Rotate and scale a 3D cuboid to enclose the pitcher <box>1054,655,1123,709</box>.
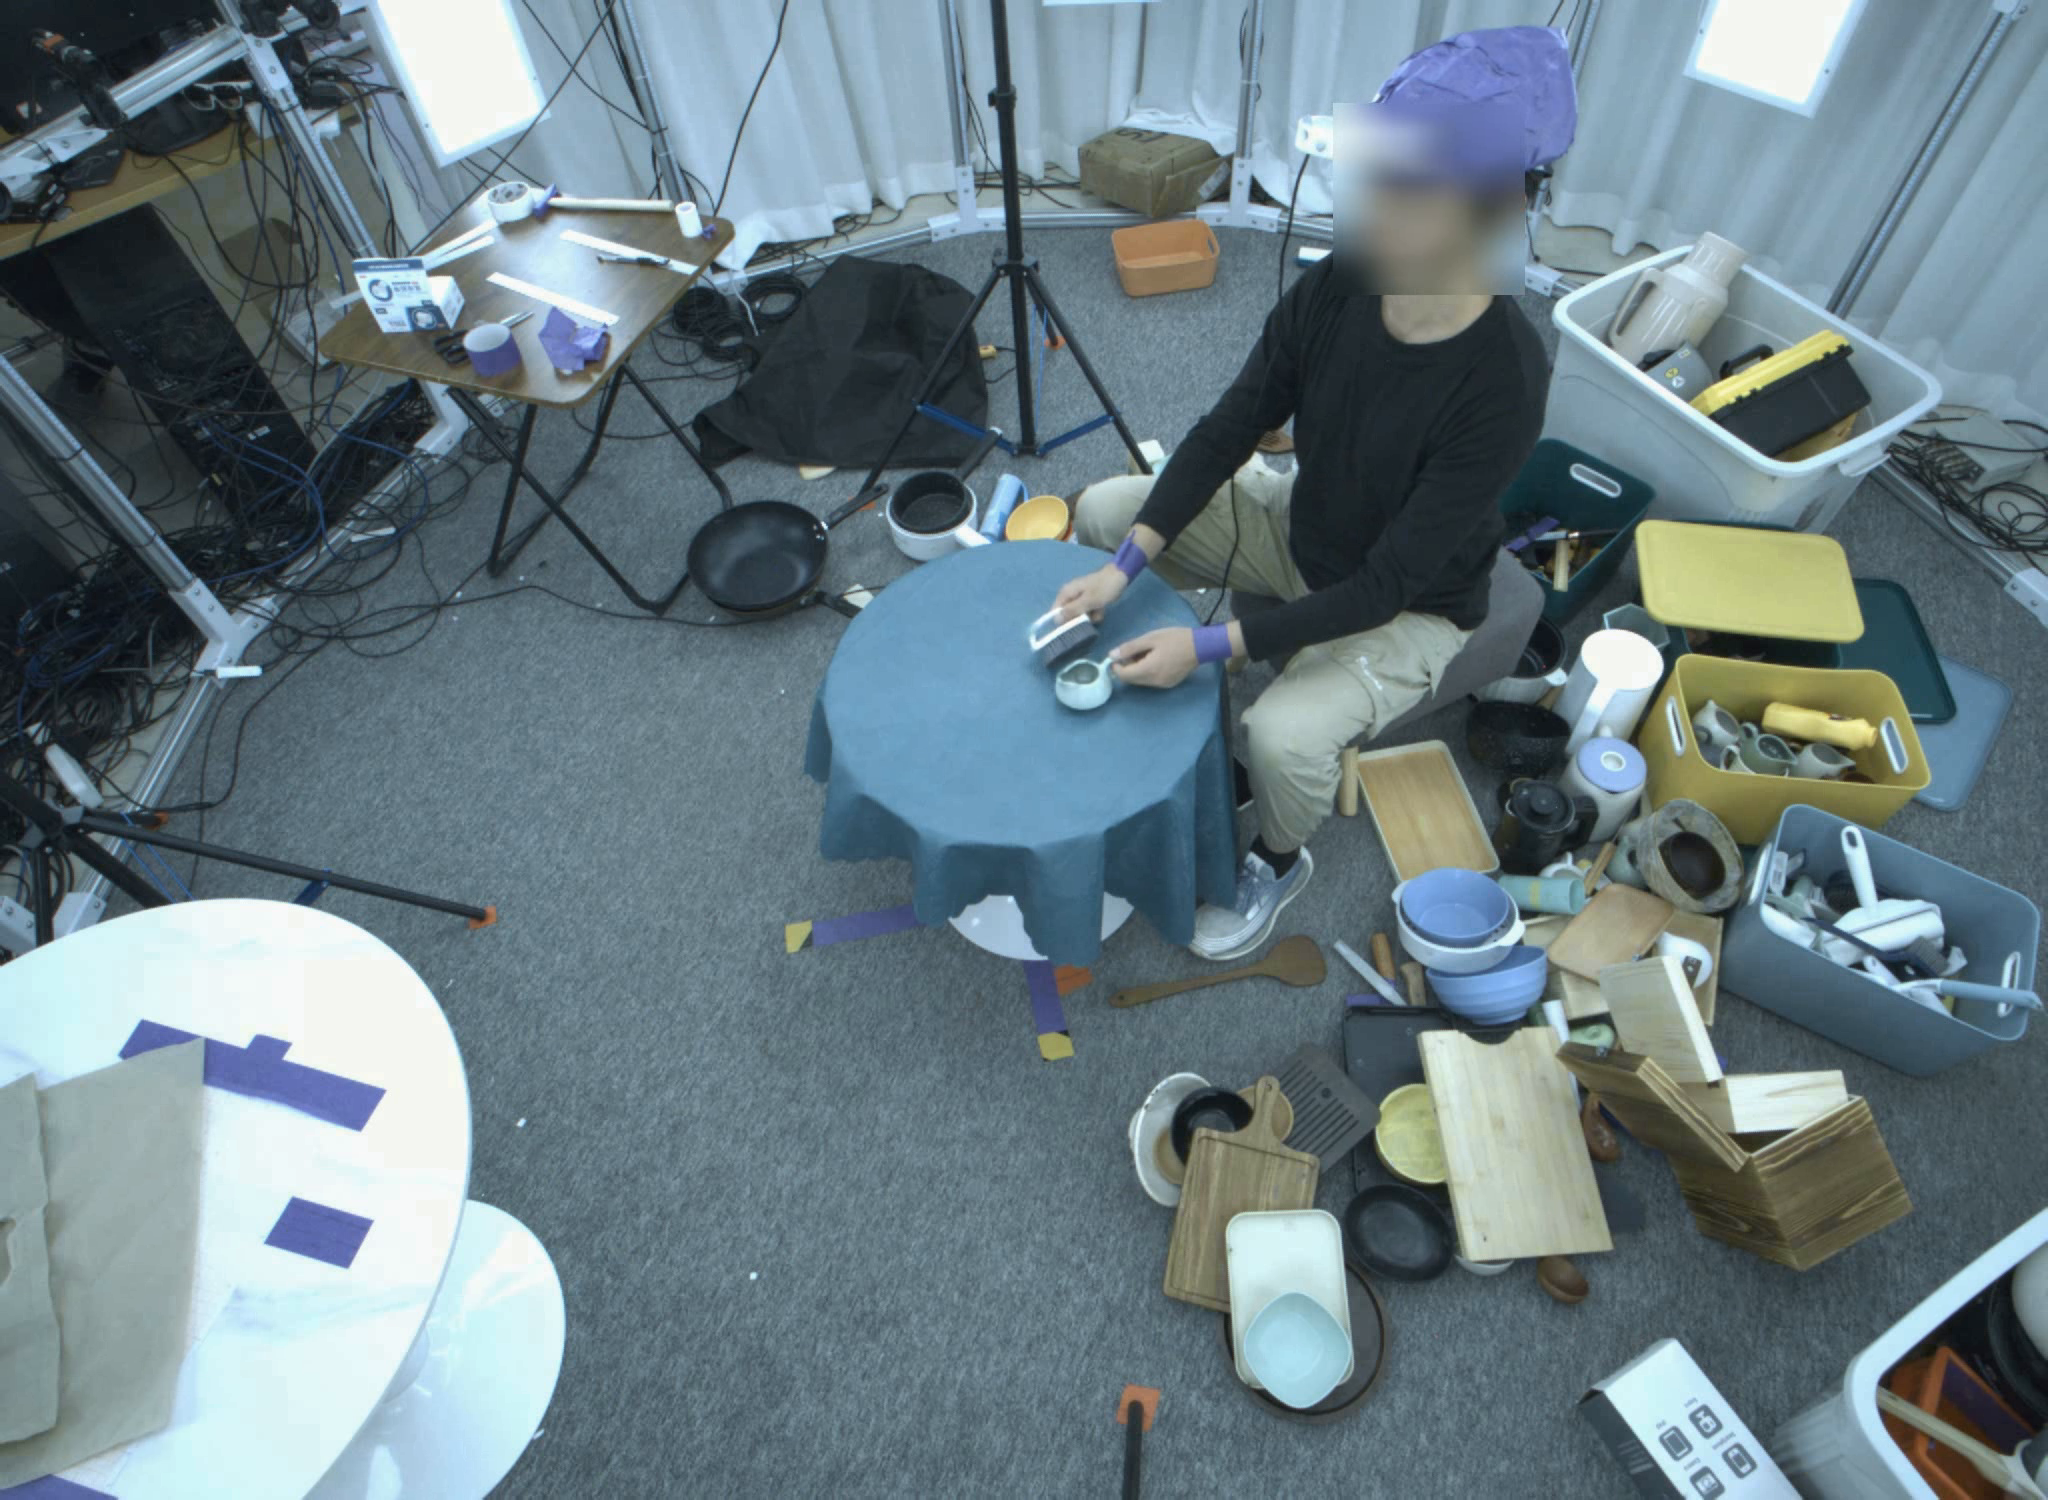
[{"bbox_3d":[0.097,-0.105,1.828,0.109,0.061,0.084,-21,57,-16],"label":"pitcher"}]

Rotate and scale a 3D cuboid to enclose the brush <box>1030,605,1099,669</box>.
[{"bbox_3d":[0.054,-0.178,1.867,0.099,0.050,0.072,-33,77,-4],"label":"brush"}]
